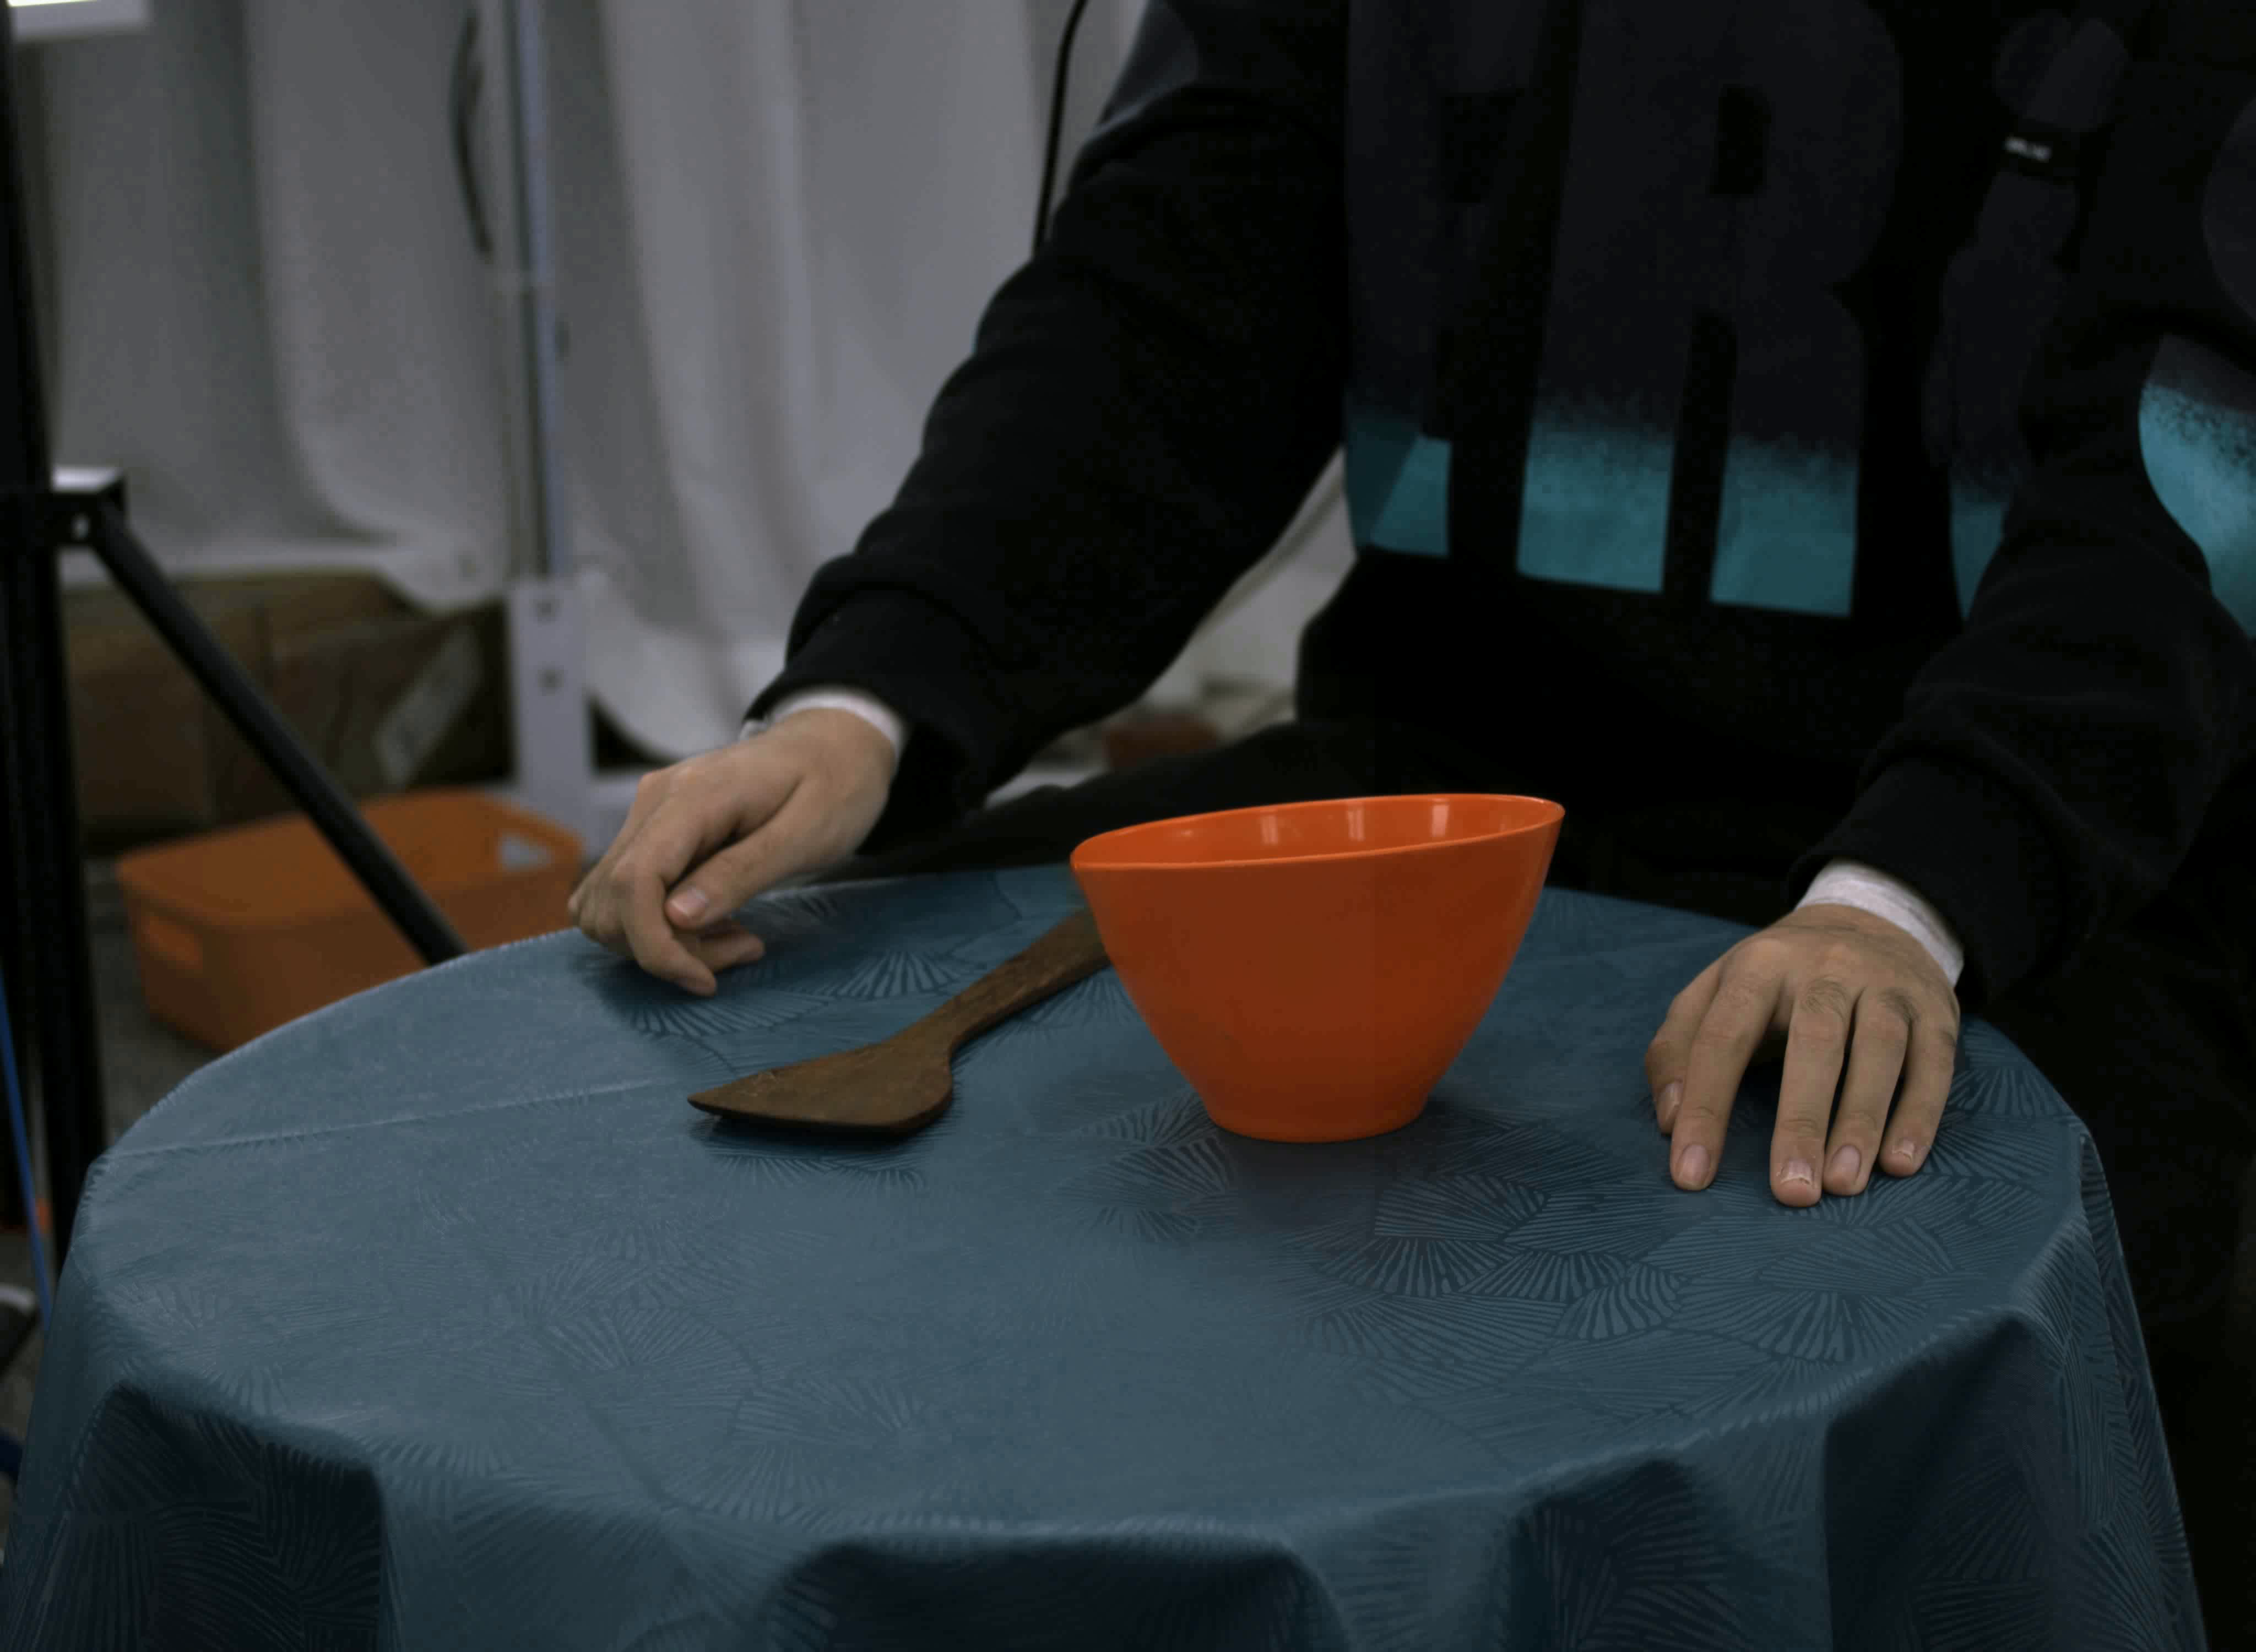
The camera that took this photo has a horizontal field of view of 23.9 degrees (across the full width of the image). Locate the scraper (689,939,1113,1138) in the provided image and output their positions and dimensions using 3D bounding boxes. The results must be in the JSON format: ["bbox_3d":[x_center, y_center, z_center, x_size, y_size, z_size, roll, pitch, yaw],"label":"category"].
[{"bbox_3d":[-0.060,0.066,1.701,0.077,0.011,0.208,7,18,26],"label":"scraper"}]

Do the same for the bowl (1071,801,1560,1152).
[{"bbox_3d":[0.058,0.043,1.600,0.147,0.104,0.149,-3,14,-1],"label":"bowl"}]
